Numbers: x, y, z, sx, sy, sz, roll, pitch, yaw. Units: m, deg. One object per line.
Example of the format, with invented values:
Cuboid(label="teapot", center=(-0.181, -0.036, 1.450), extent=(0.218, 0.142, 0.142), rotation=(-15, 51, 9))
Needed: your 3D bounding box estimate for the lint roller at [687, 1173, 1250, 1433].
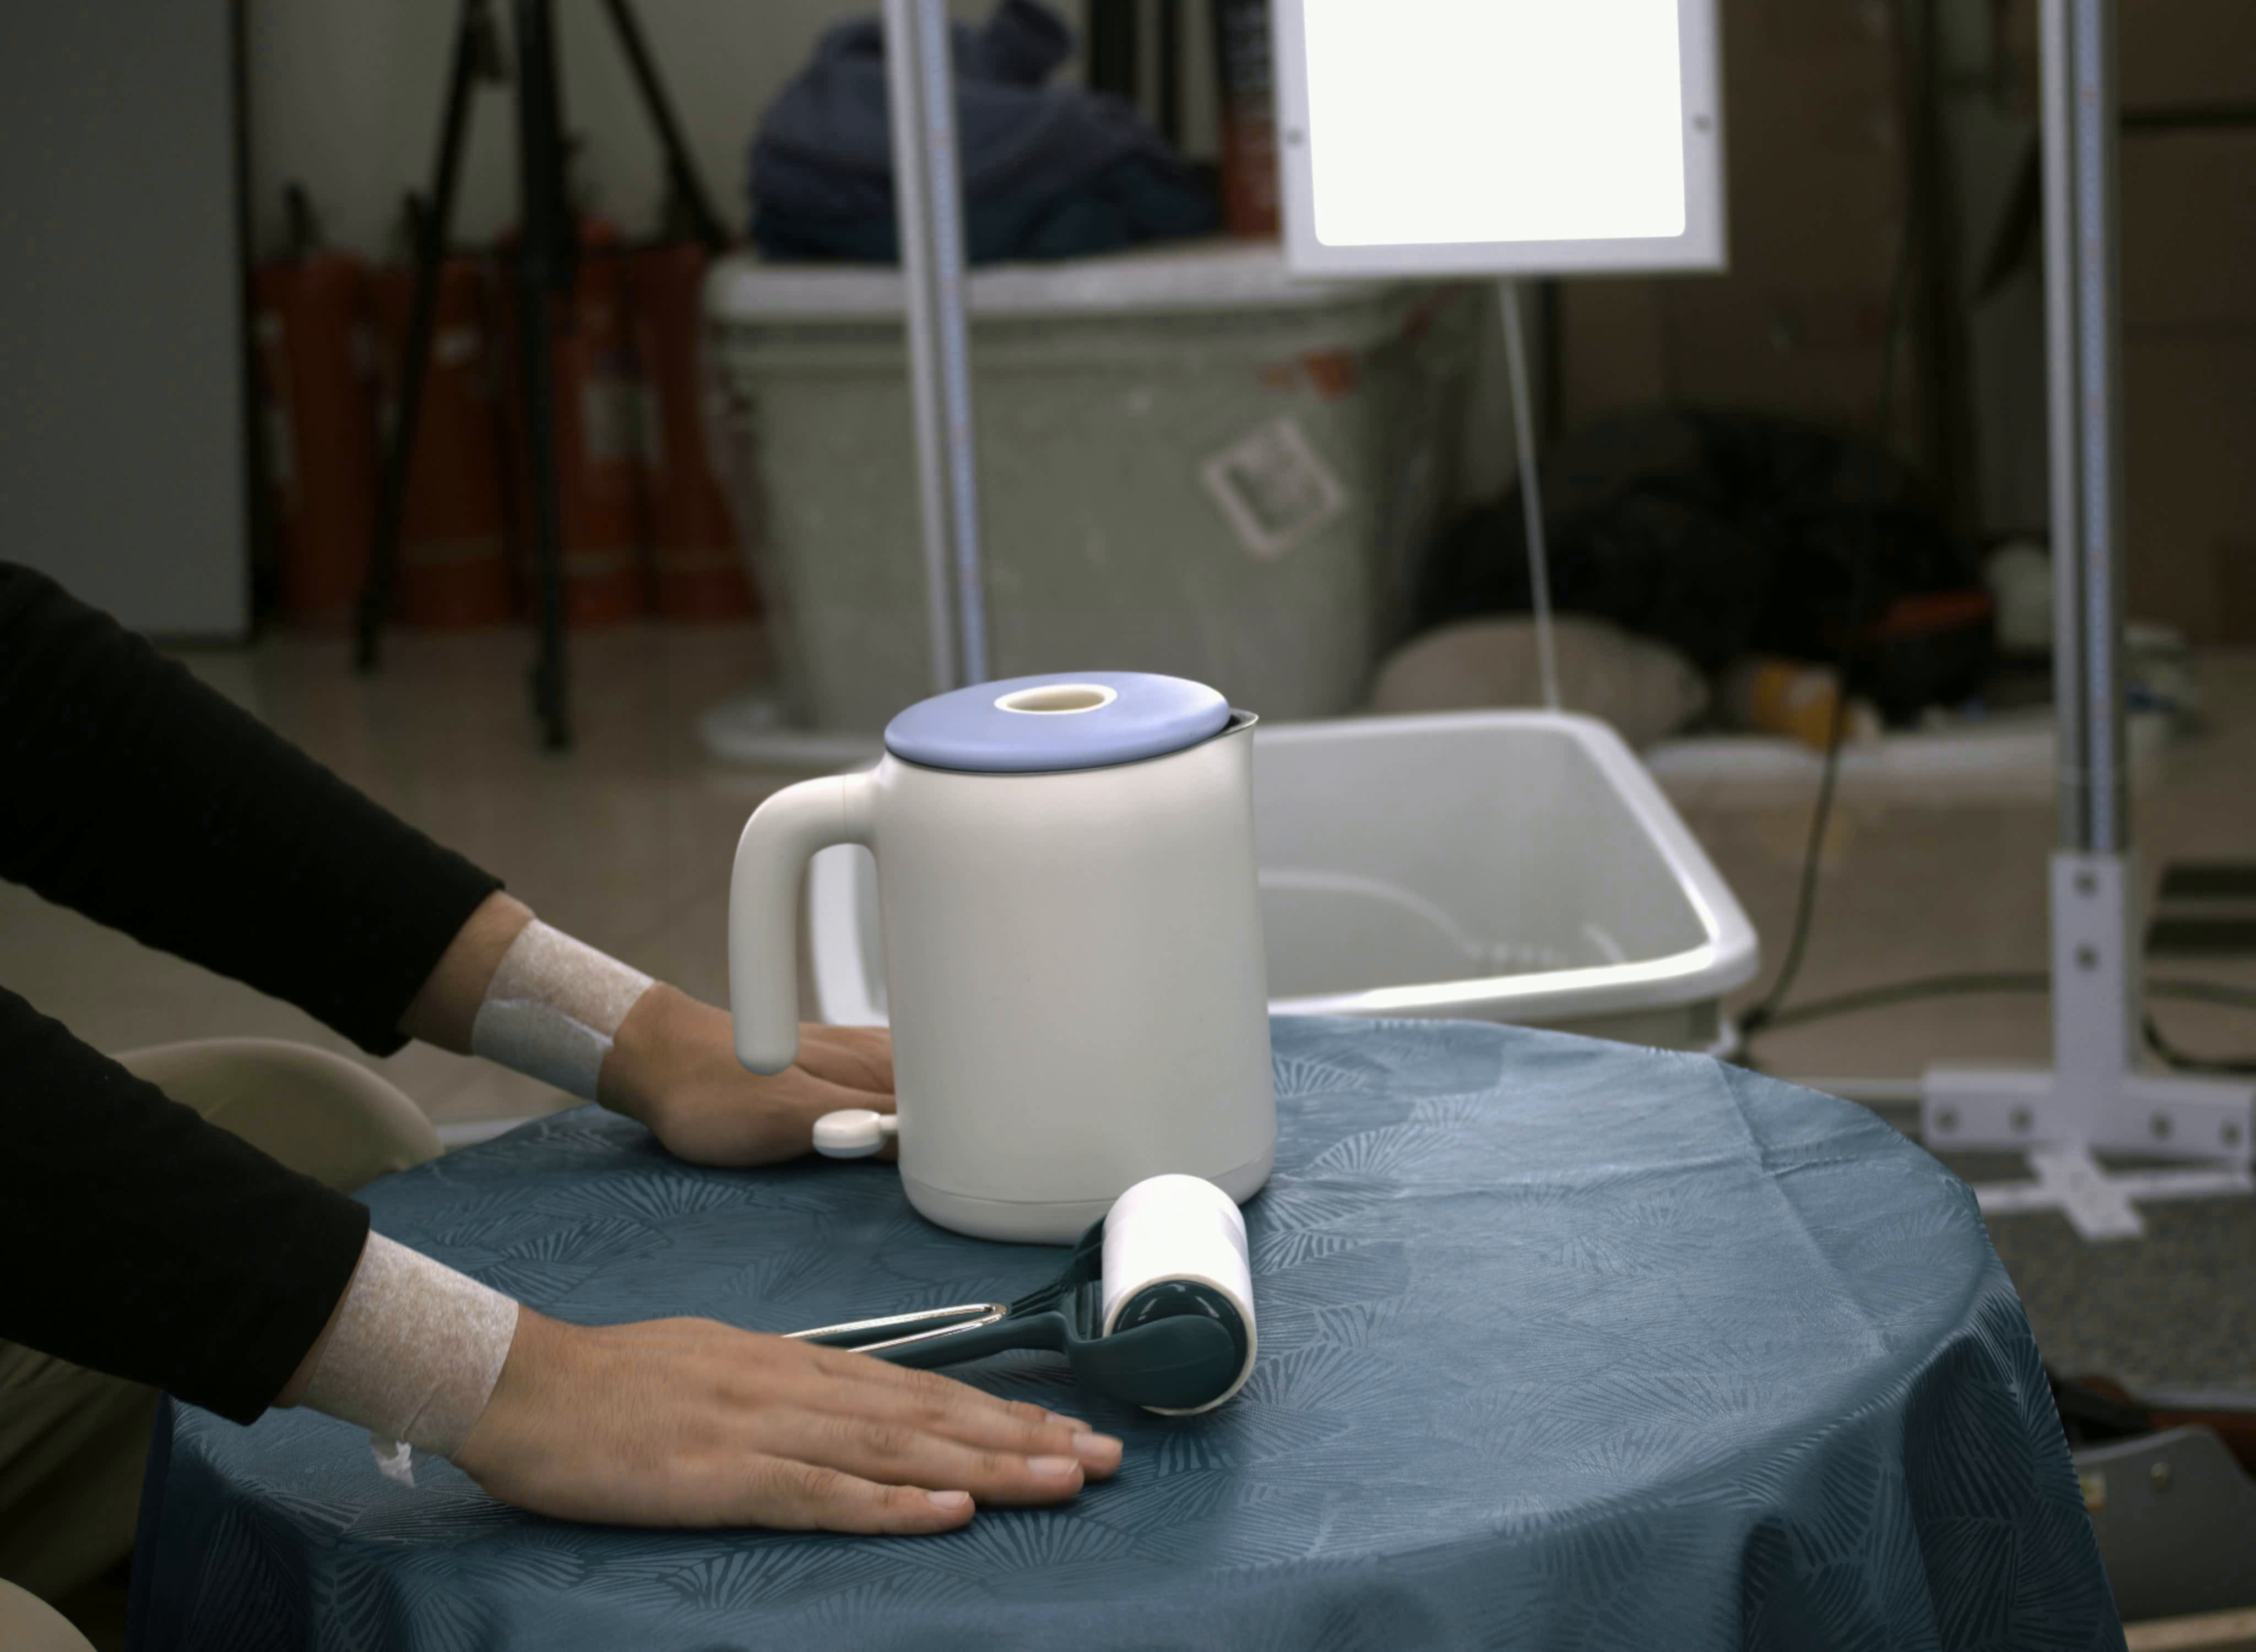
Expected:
Cuboid(label="lint roller", center=(-0.052, 0.154, 1.720), extent=(0.180, 0.048, 0.134), rotation=(-8, 14, 3))

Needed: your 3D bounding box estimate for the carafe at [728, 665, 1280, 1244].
Cuboid(label="carafe", center=(-0.043, 0.045, 1.884), extent=(0.191, 0.183, 0.132), rotation=(-6, 13, 3))
